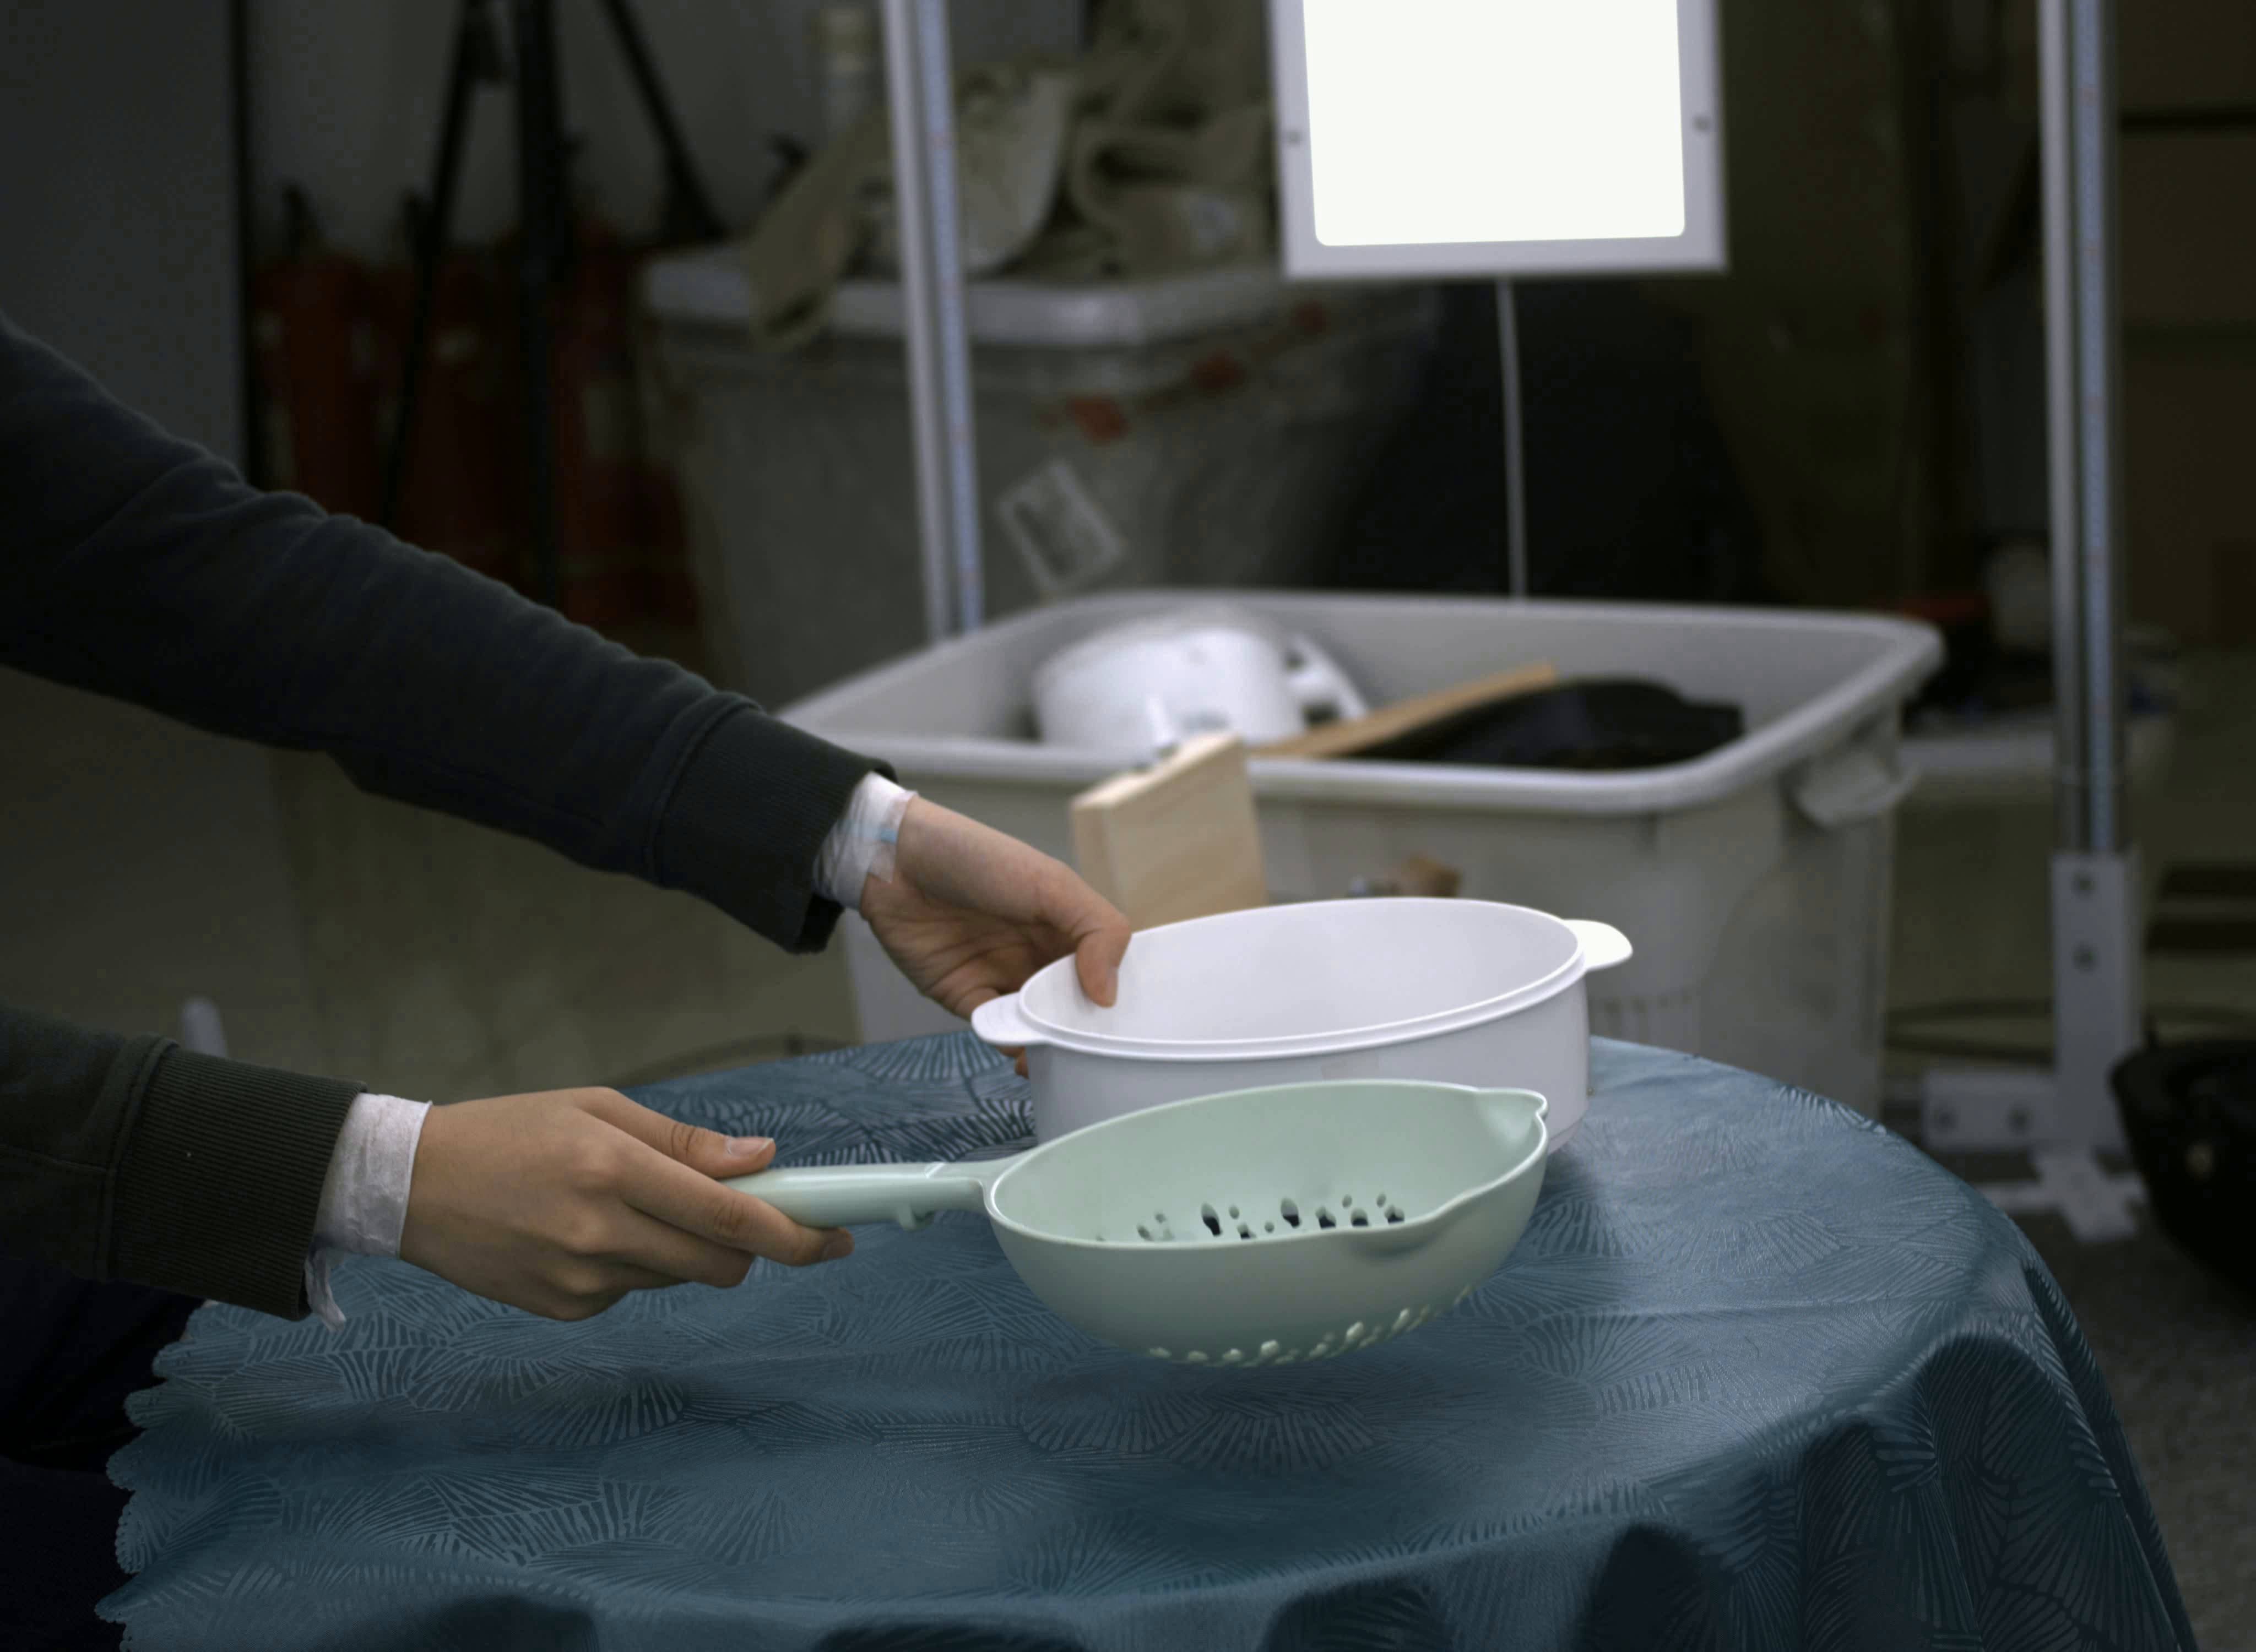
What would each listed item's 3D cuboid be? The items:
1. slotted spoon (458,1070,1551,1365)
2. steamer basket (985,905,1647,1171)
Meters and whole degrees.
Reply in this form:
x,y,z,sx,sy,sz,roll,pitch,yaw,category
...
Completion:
x,y,z,sx,sy,sz,roll,pitch,yaw,category
-0.046,0.115,1.687,0.364,0.076,0.166,5,15,22,slotted spoon
0.068,0.081,1.900,0.229,0.069,0.202,-8,11,-5,steamer basket
